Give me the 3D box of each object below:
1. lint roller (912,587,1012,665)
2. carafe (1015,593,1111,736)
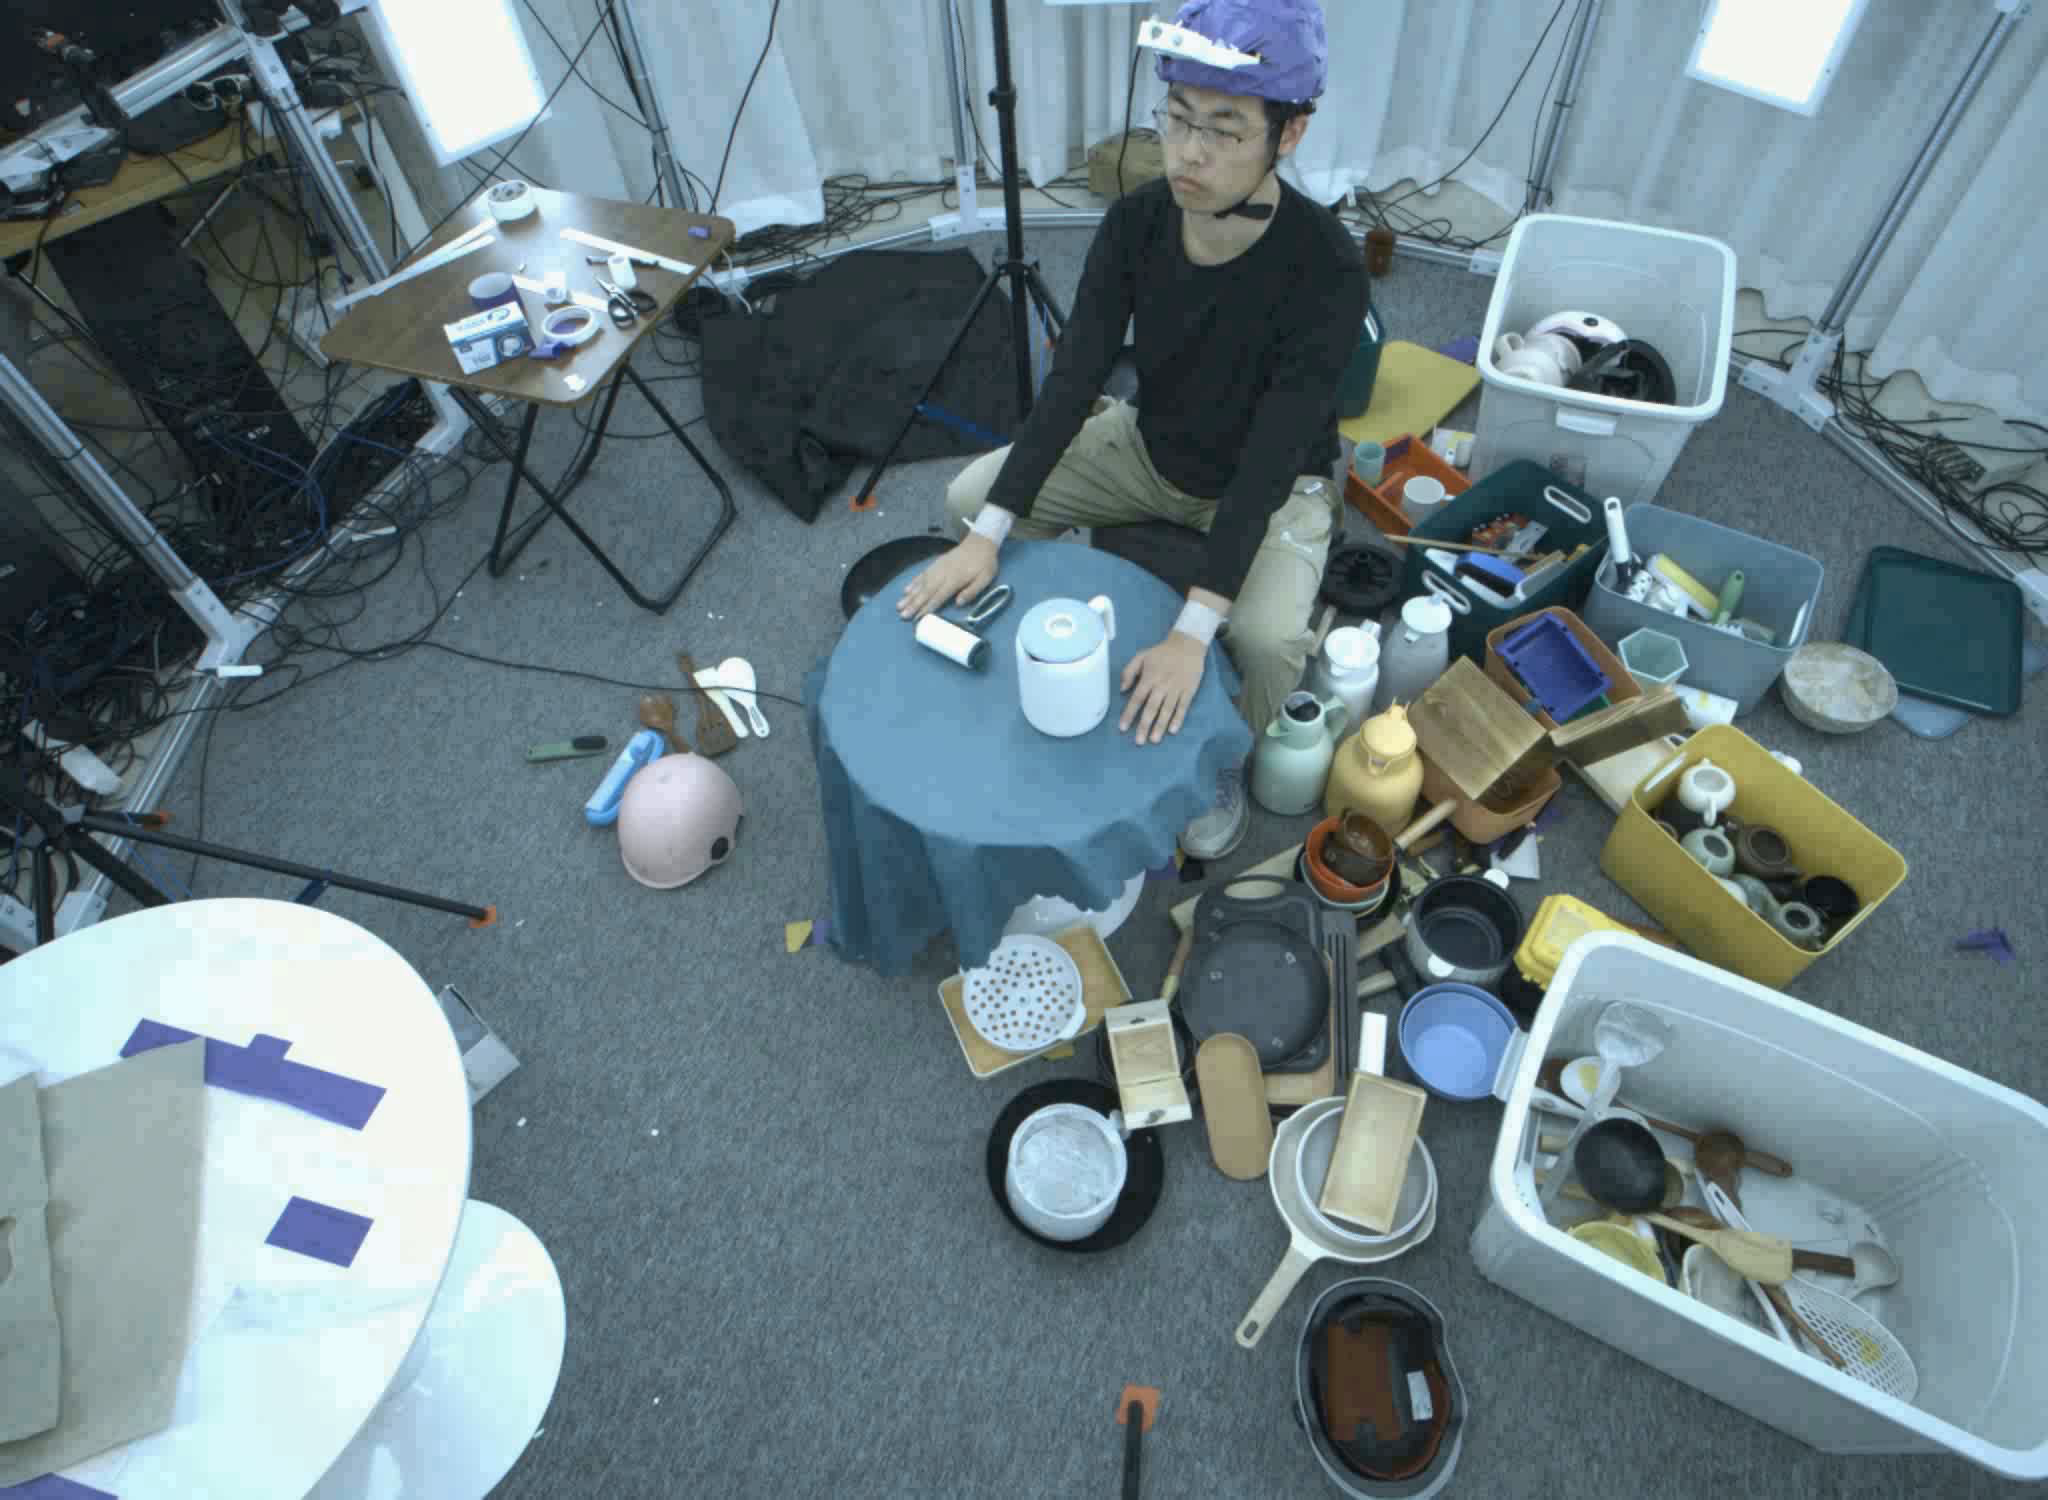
[{"bbox_3d":[-0.076,-0.214,1.916,0.132,0.049,0.181,29,58,20],"label":"lint roller"},{"bbox_3d":[0.070,-0.135,1.775,0.130,0.184,0.192,29,59,21],"label":"carafe"}]
